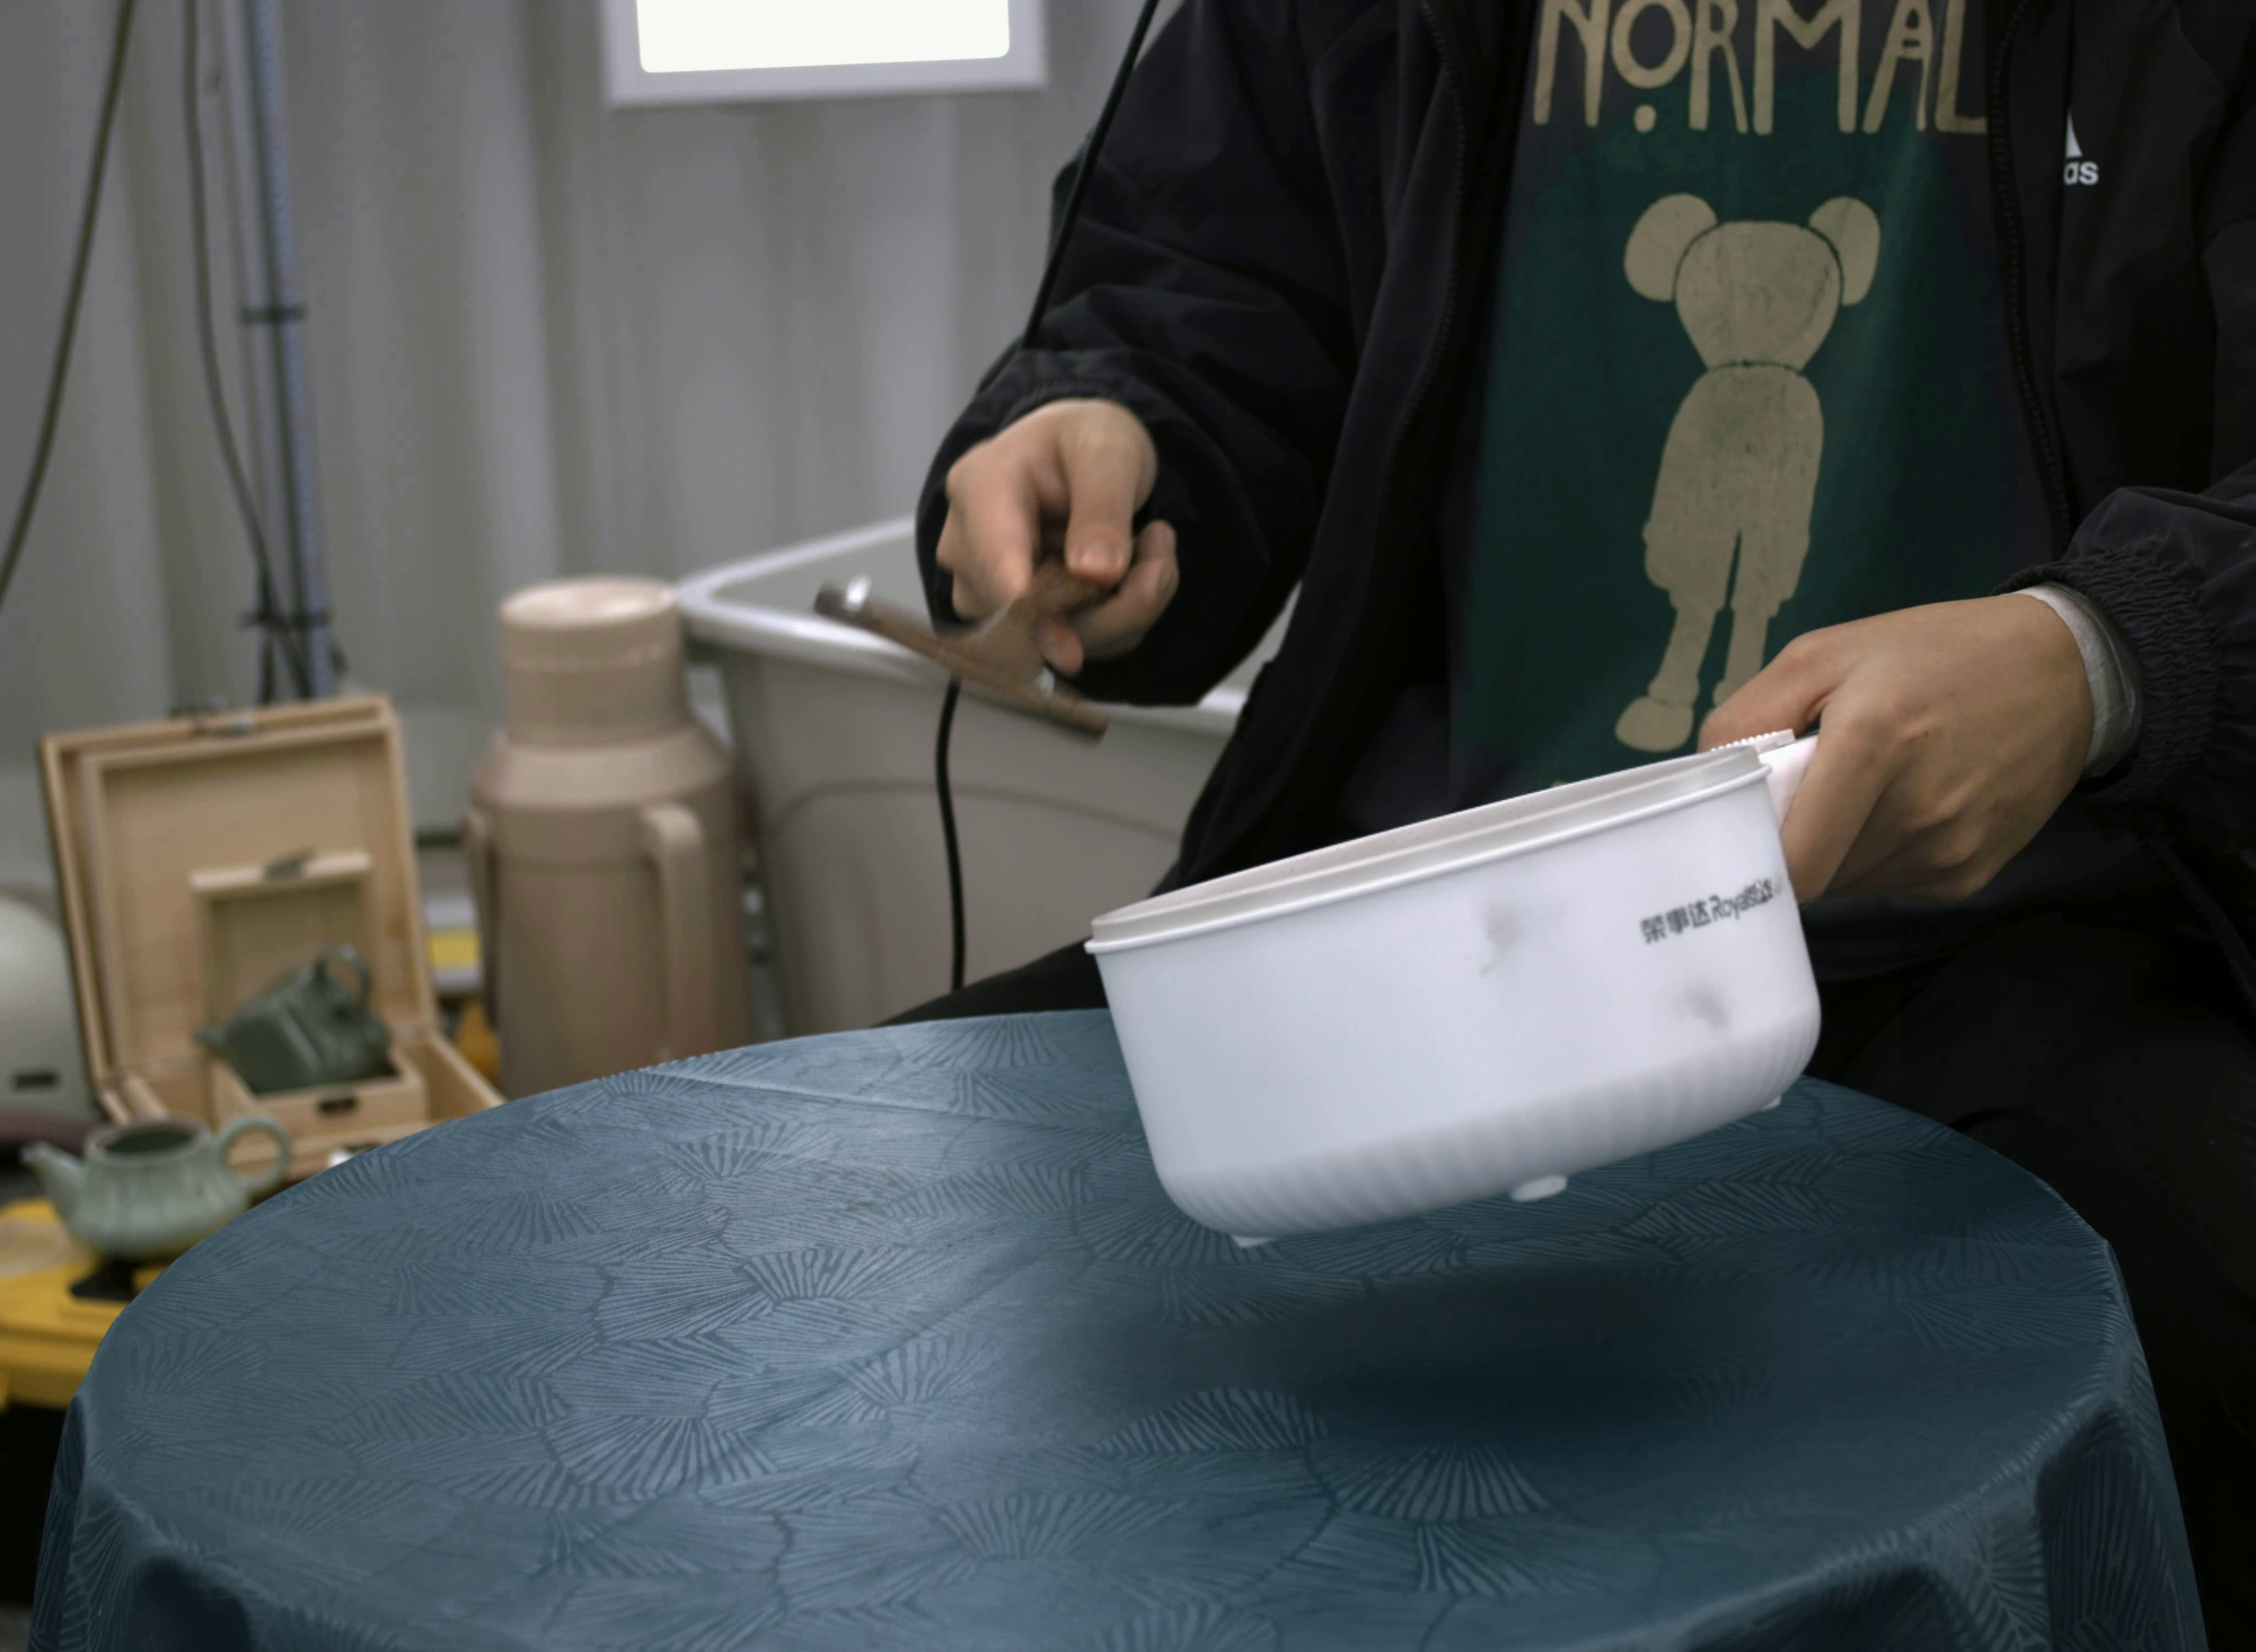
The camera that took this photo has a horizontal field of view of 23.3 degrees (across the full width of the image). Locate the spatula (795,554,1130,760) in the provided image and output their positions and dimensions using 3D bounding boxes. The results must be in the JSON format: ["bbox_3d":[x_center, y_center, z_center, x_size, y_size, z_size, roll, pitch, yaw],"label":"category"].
[{"bbox_3d":[-0.035,-0.062,1.765,0.096,0.016,0.387,22,11,3],"label":"spatula"}]

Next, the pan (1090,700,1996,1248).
[{"bbox_3d":[0.147,0.038,1.601,0.201,0.102,0.354,-15,-1,43],"label":"pan"}]
